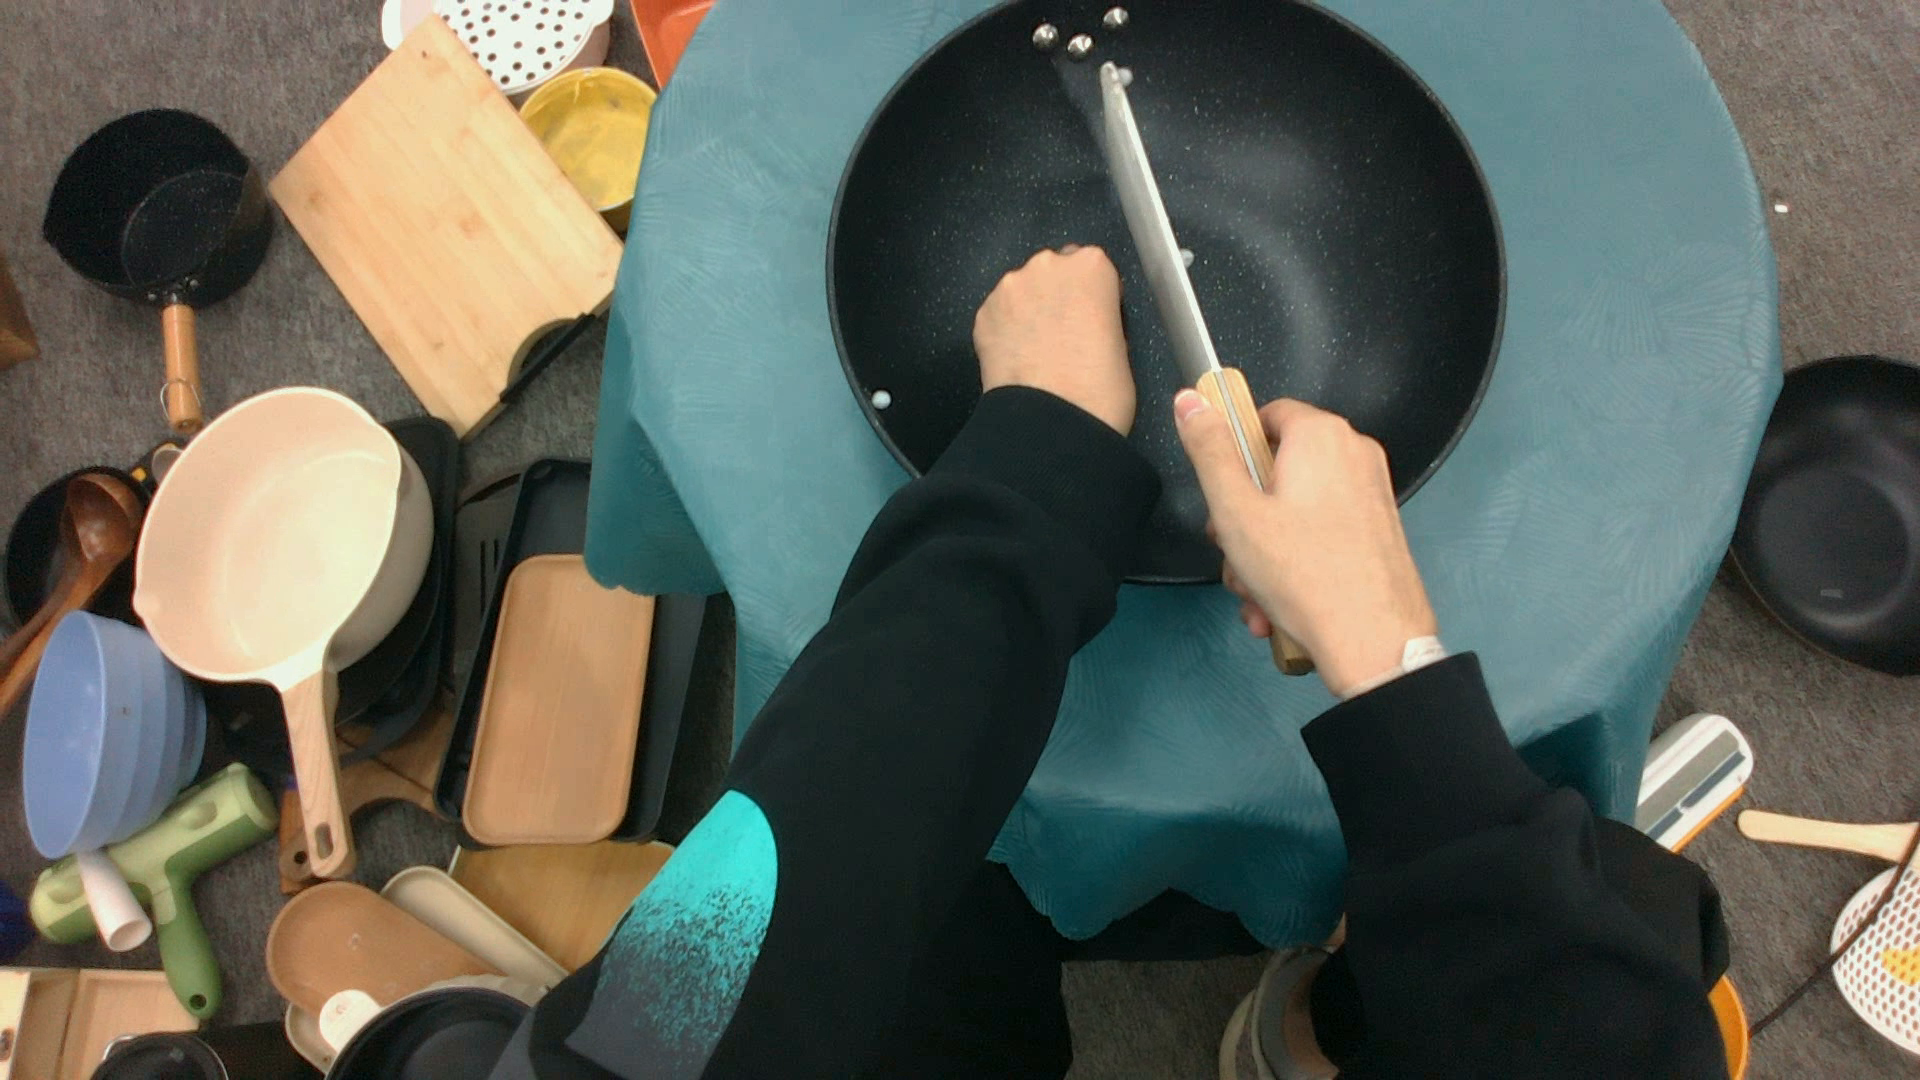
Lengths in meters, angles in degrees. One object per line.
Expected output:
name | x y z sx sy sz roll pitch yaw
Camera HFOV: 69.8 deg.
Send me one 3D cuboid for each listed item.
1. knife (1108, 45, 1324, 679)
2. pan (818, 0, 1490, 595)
knife | 0.103 -0.085 0.612 0.022 0.113 0.316 -14 64 2
pan | 0.068 -0.194 0.683 0.310 0.111 0.478 -13 73 -5
